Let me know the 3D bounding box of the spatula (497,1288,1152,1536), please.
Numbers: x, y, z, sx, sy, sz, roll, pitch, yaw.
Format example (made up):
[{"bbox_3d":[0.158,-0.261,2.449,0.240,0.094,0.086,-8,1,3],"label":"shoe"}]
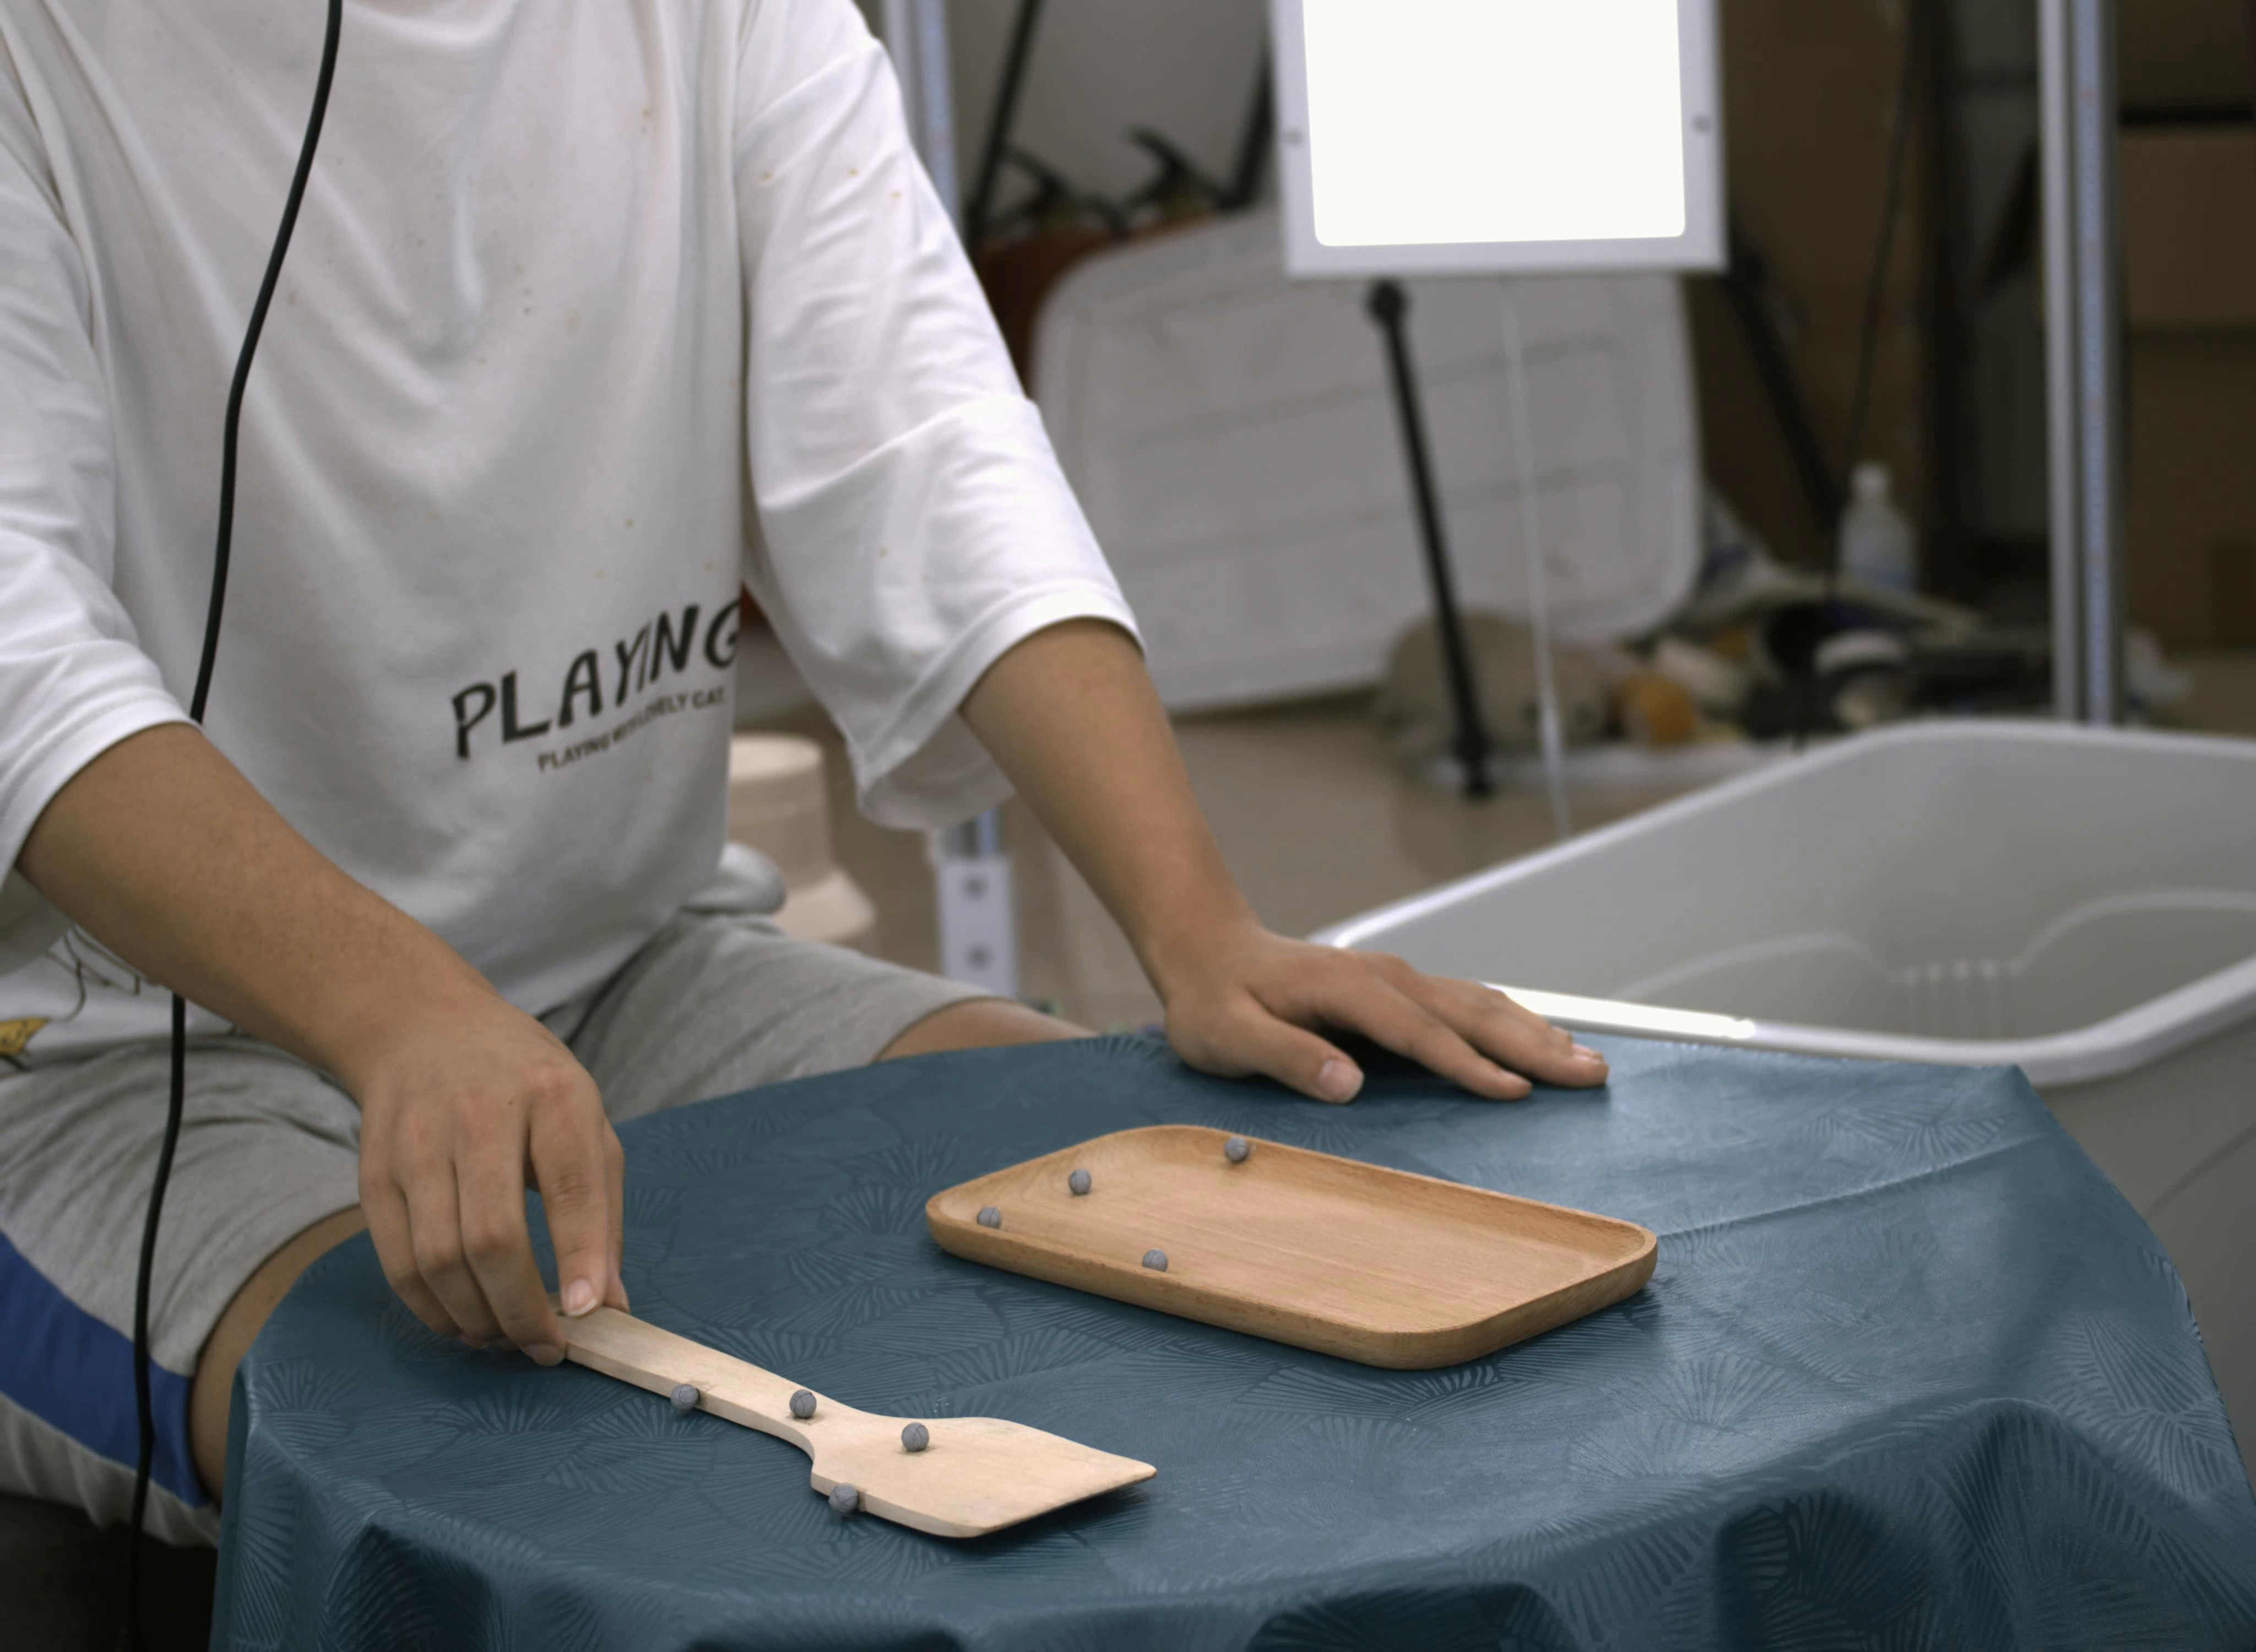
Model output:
[{"bbox_3d":[-0.109,0.178,1.704,0.070,0.011,0.299,-14,16,-36],"label":"spatula"}]

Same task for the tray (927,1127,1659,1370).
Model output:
[{"bbox_3d":[0.052,0.137,1.804,0.127,0.023,0.256,-19,19,-37],"label":"tray"}]
